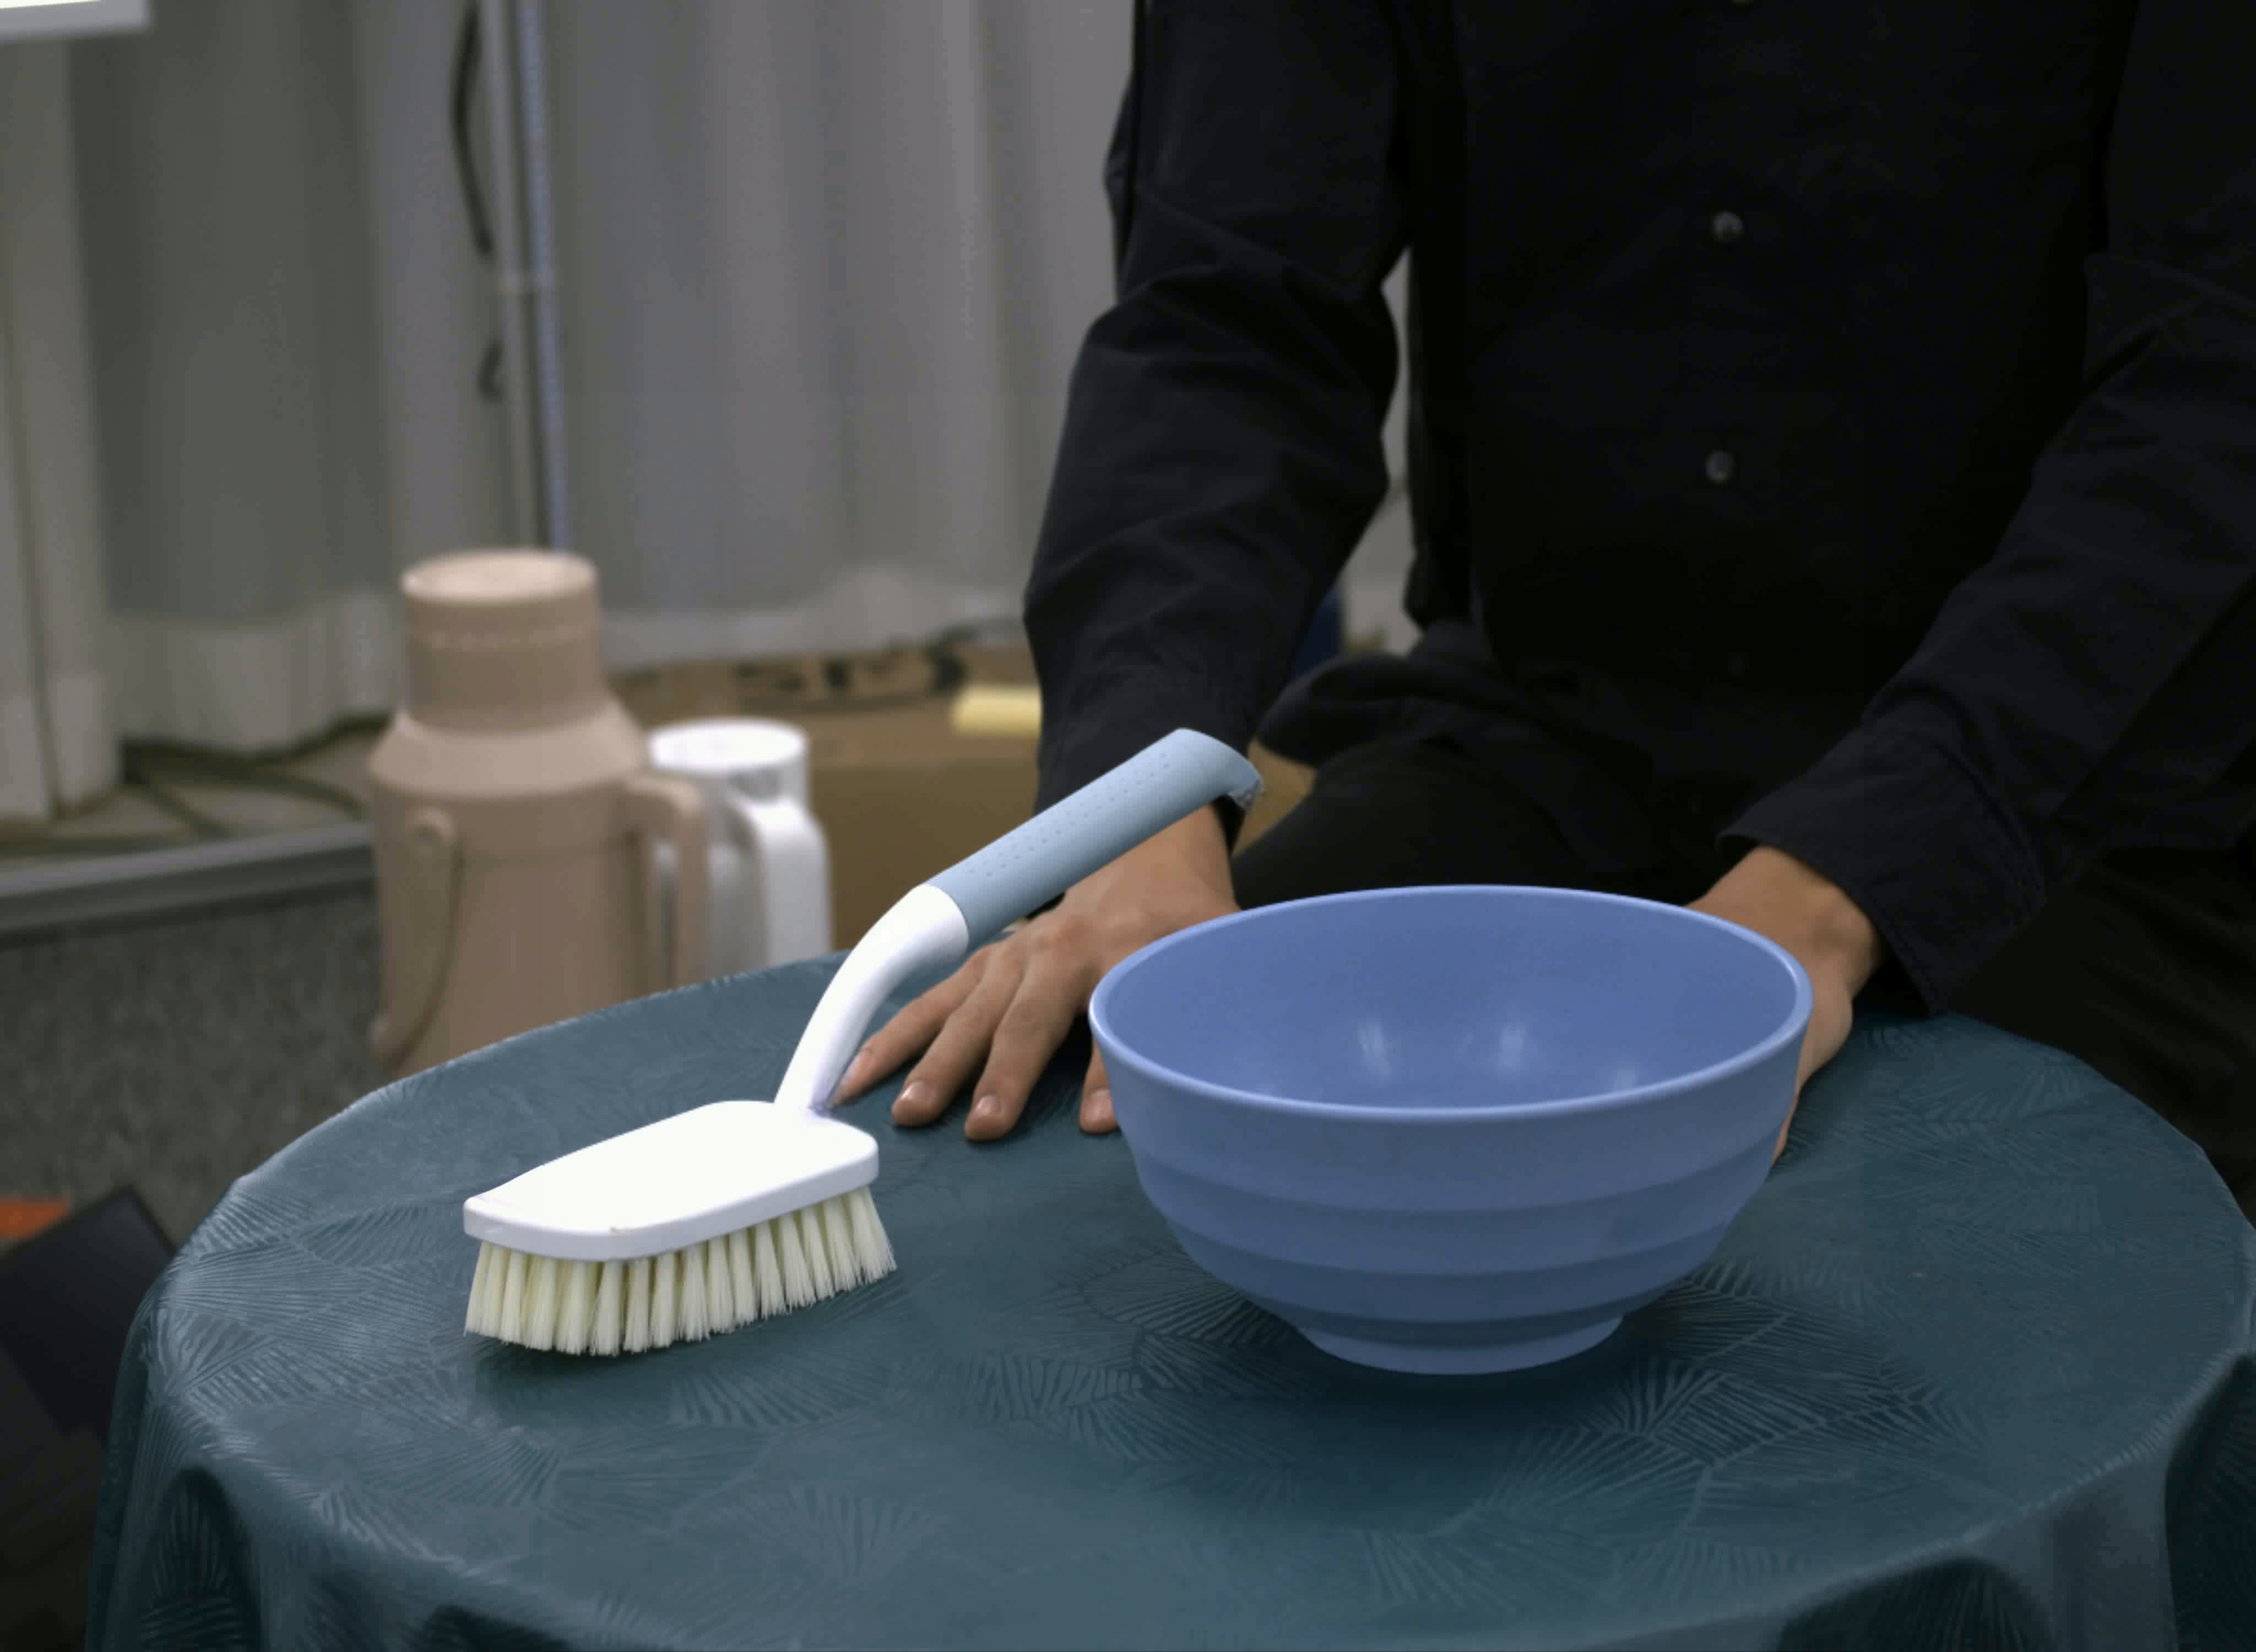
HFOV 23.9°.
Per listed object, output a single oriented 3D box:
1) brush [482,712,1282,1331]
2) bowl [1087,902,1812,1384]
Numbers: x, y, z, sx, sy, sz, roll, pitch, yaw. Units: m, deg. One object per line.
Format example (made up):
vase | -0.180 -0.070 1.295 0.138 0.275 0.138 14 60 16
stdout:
brush | -0.058 0.071 1.552 0.320 0.085 0.084 -31 68 -37
bowl | 0.088 0.092 1.445 0.195 0.095 0.197 -3 15 -1
